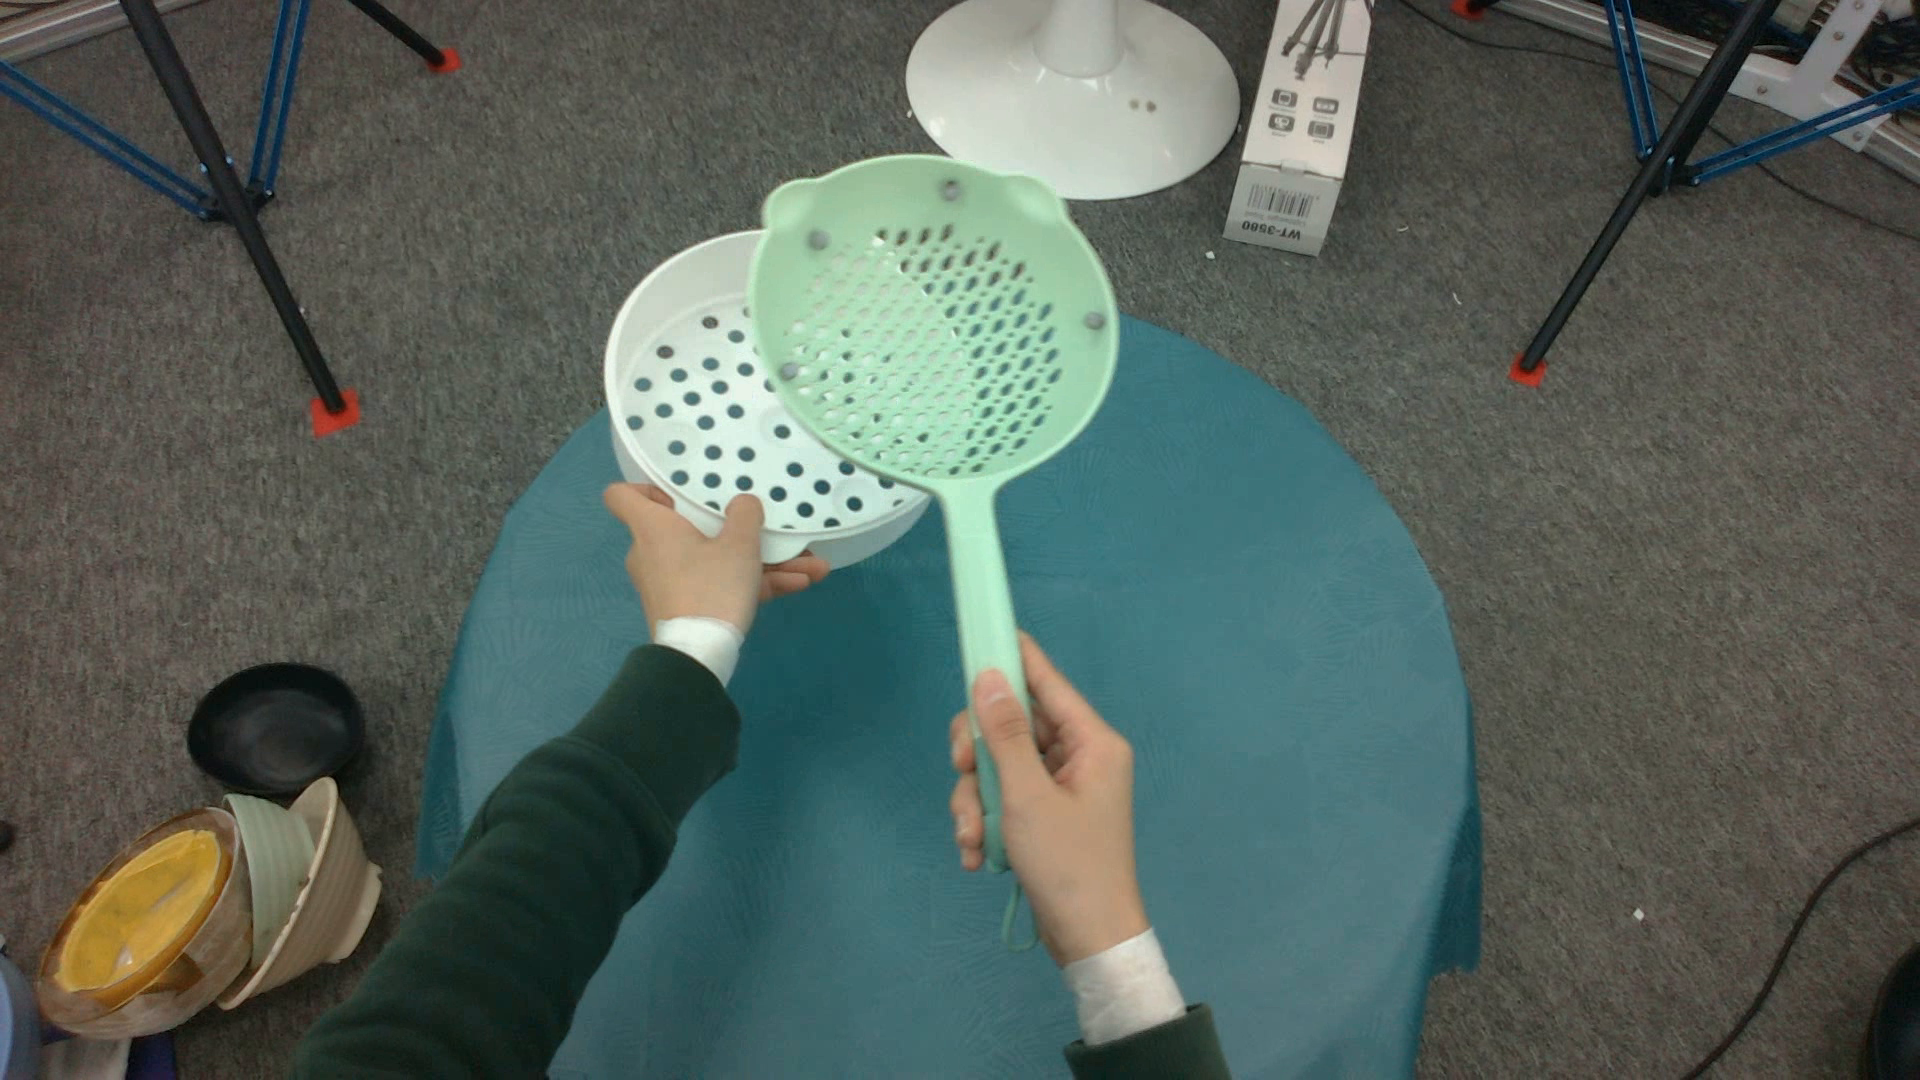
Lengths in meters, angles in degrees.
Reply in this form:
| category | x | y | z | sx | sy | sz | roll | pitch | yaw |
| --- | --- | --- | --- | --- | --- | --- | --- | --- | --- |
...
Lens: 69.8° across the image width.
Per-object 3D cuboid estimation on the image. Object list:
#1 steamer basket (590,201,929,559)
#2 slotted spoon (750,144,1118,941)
| category | x | y | z | sx | sy | sz | roll | pitch | yaw |
| --- | --- | --- | --- | --- | --- | --- | --- | --- | --- |
| steamer basket | -0.106 | -0.086 | 0.782 | 0.202 | 0.069 | 0.231 | 16 | 61 | -6 |
| slotted spoon | 0.000 | -0.014 | 0.604 | 0.169 | 0.075 | 0.360 | -4 | 62 | -10 |
